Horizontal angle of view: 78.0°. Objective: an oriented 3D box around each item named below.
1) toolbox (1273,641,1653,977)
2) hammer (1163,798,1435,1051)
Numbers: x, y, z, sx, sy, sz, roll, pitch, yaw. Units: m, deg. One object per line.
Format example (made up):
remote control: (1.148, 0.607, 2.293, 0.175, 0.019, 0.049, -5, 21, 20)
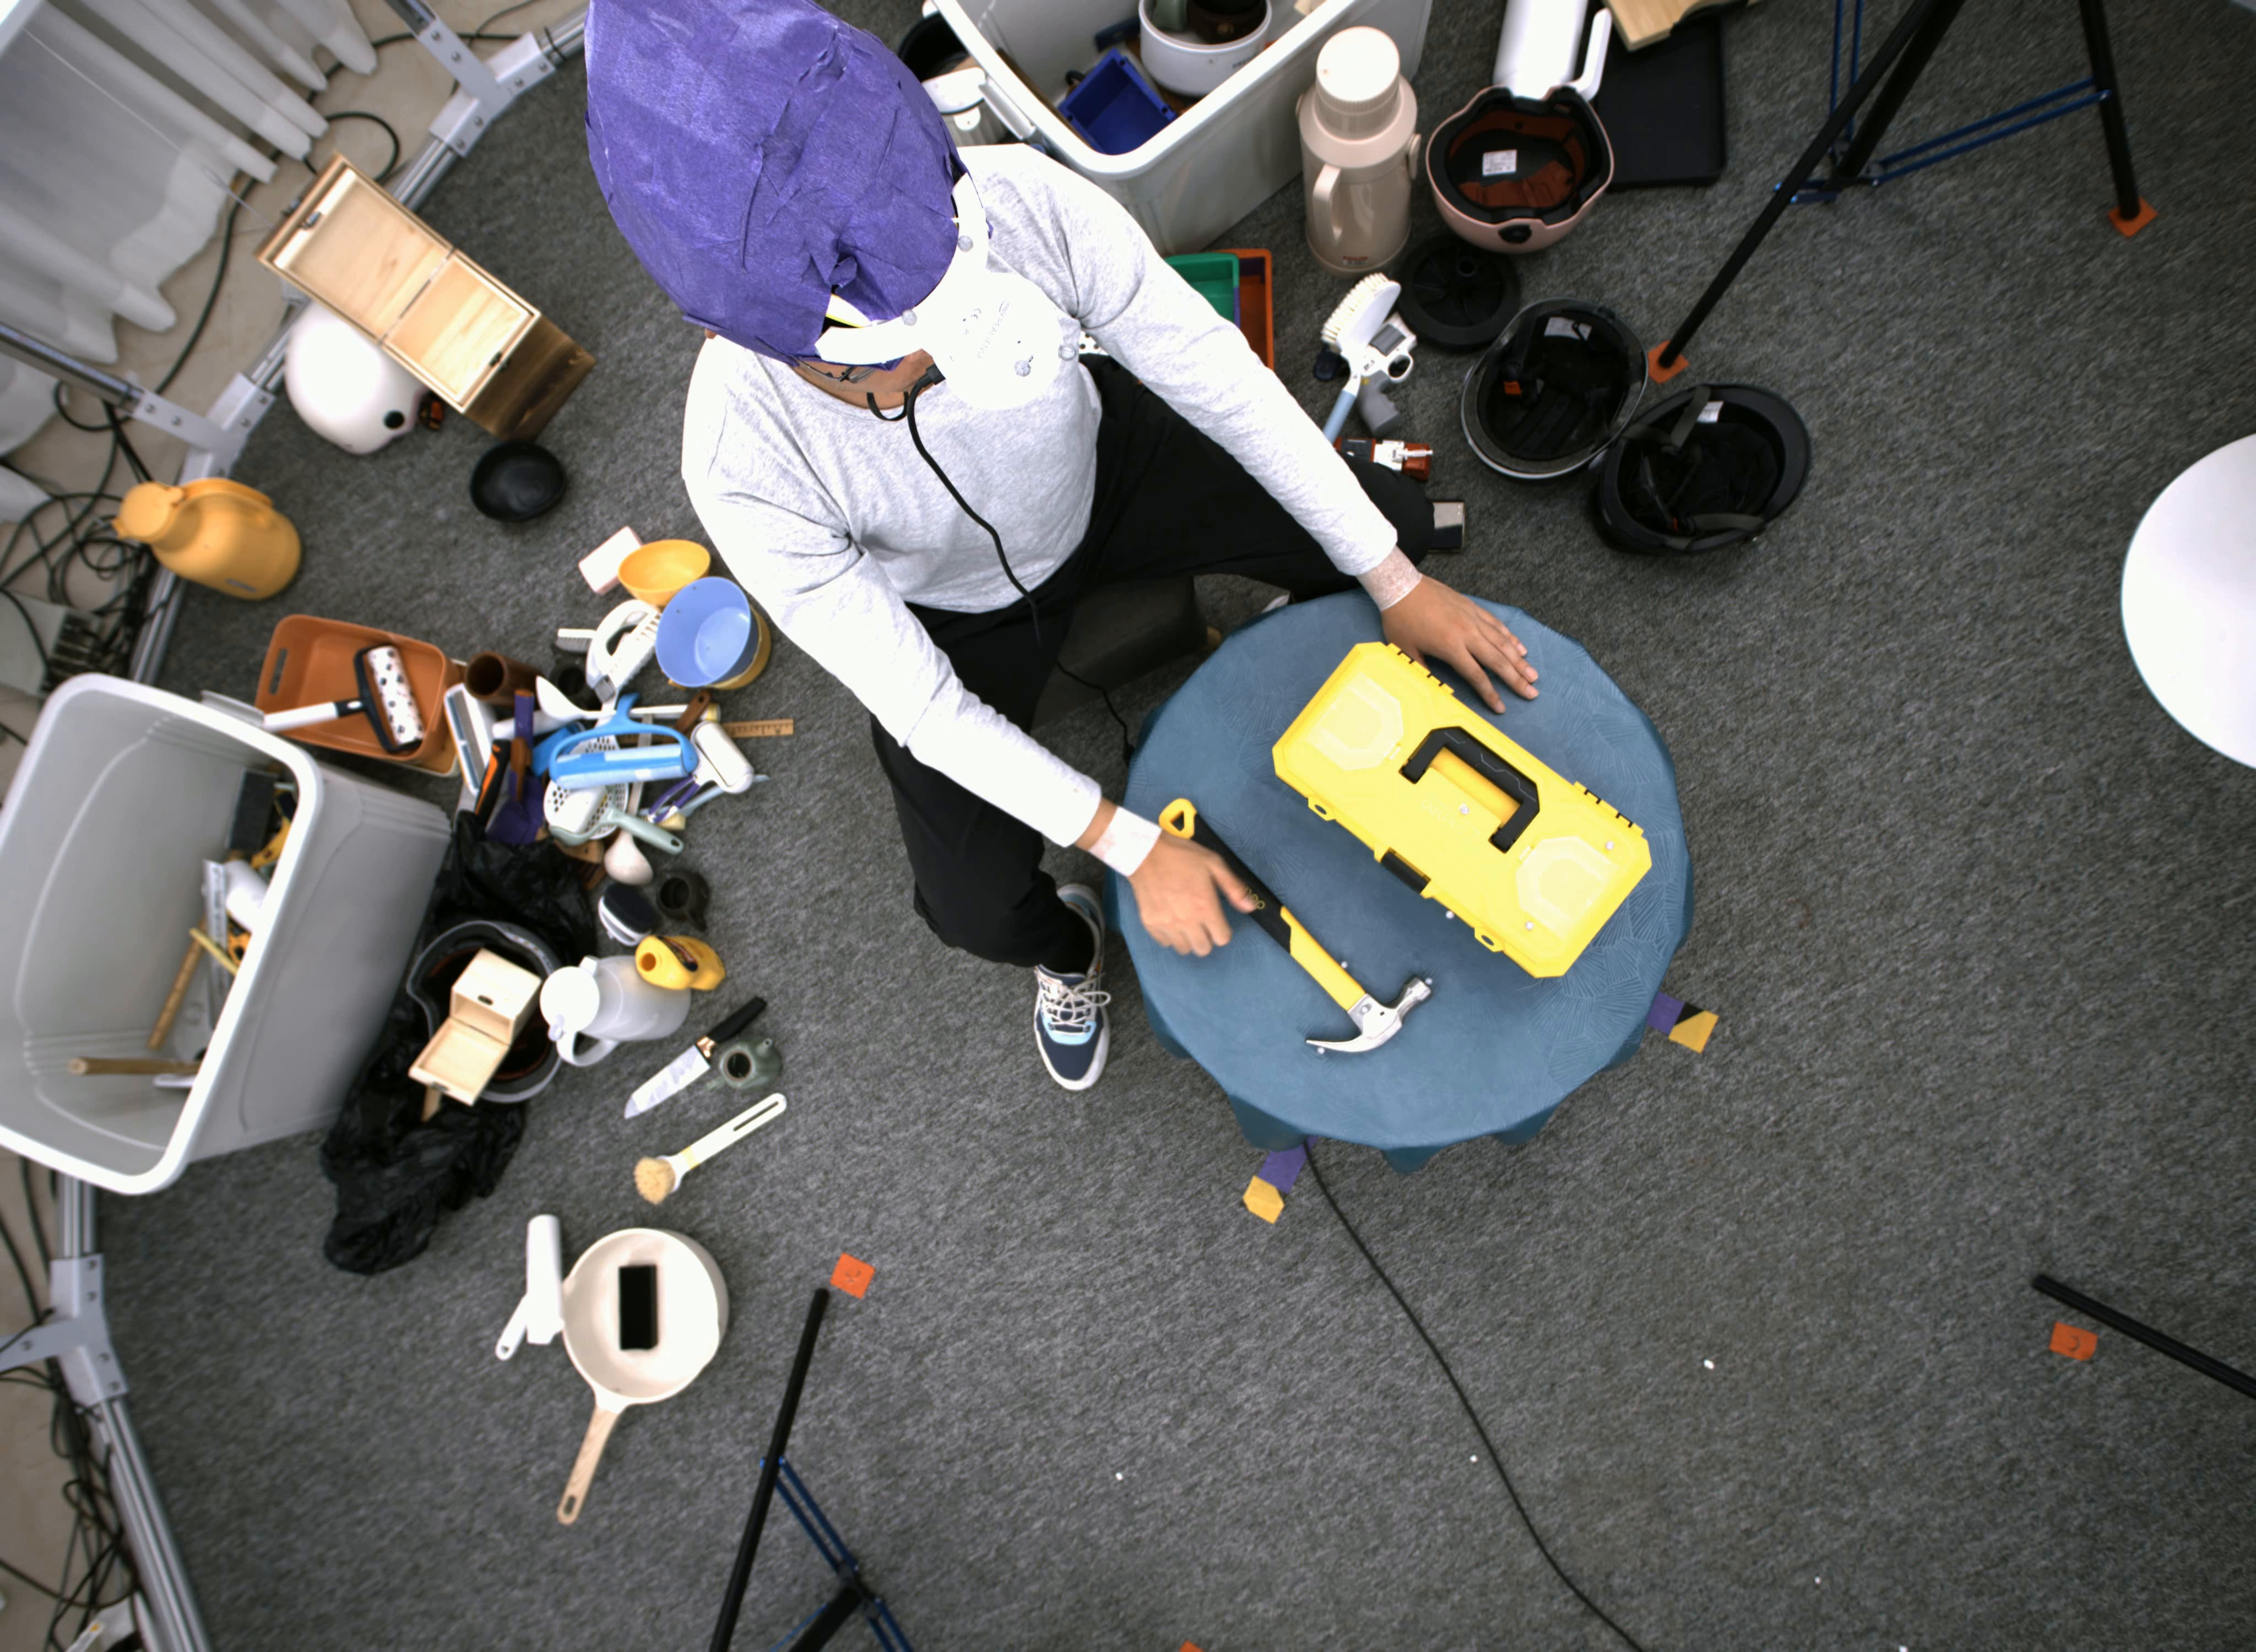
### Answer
toolbox: (0.325, -0.015, 1.368, 0.350, 0.173, 0.182, 40, 93, 11)
hammer: (0.160, 0.098, 1.468, 0.132, 0.032, 0.336, -44, 79, 7)
